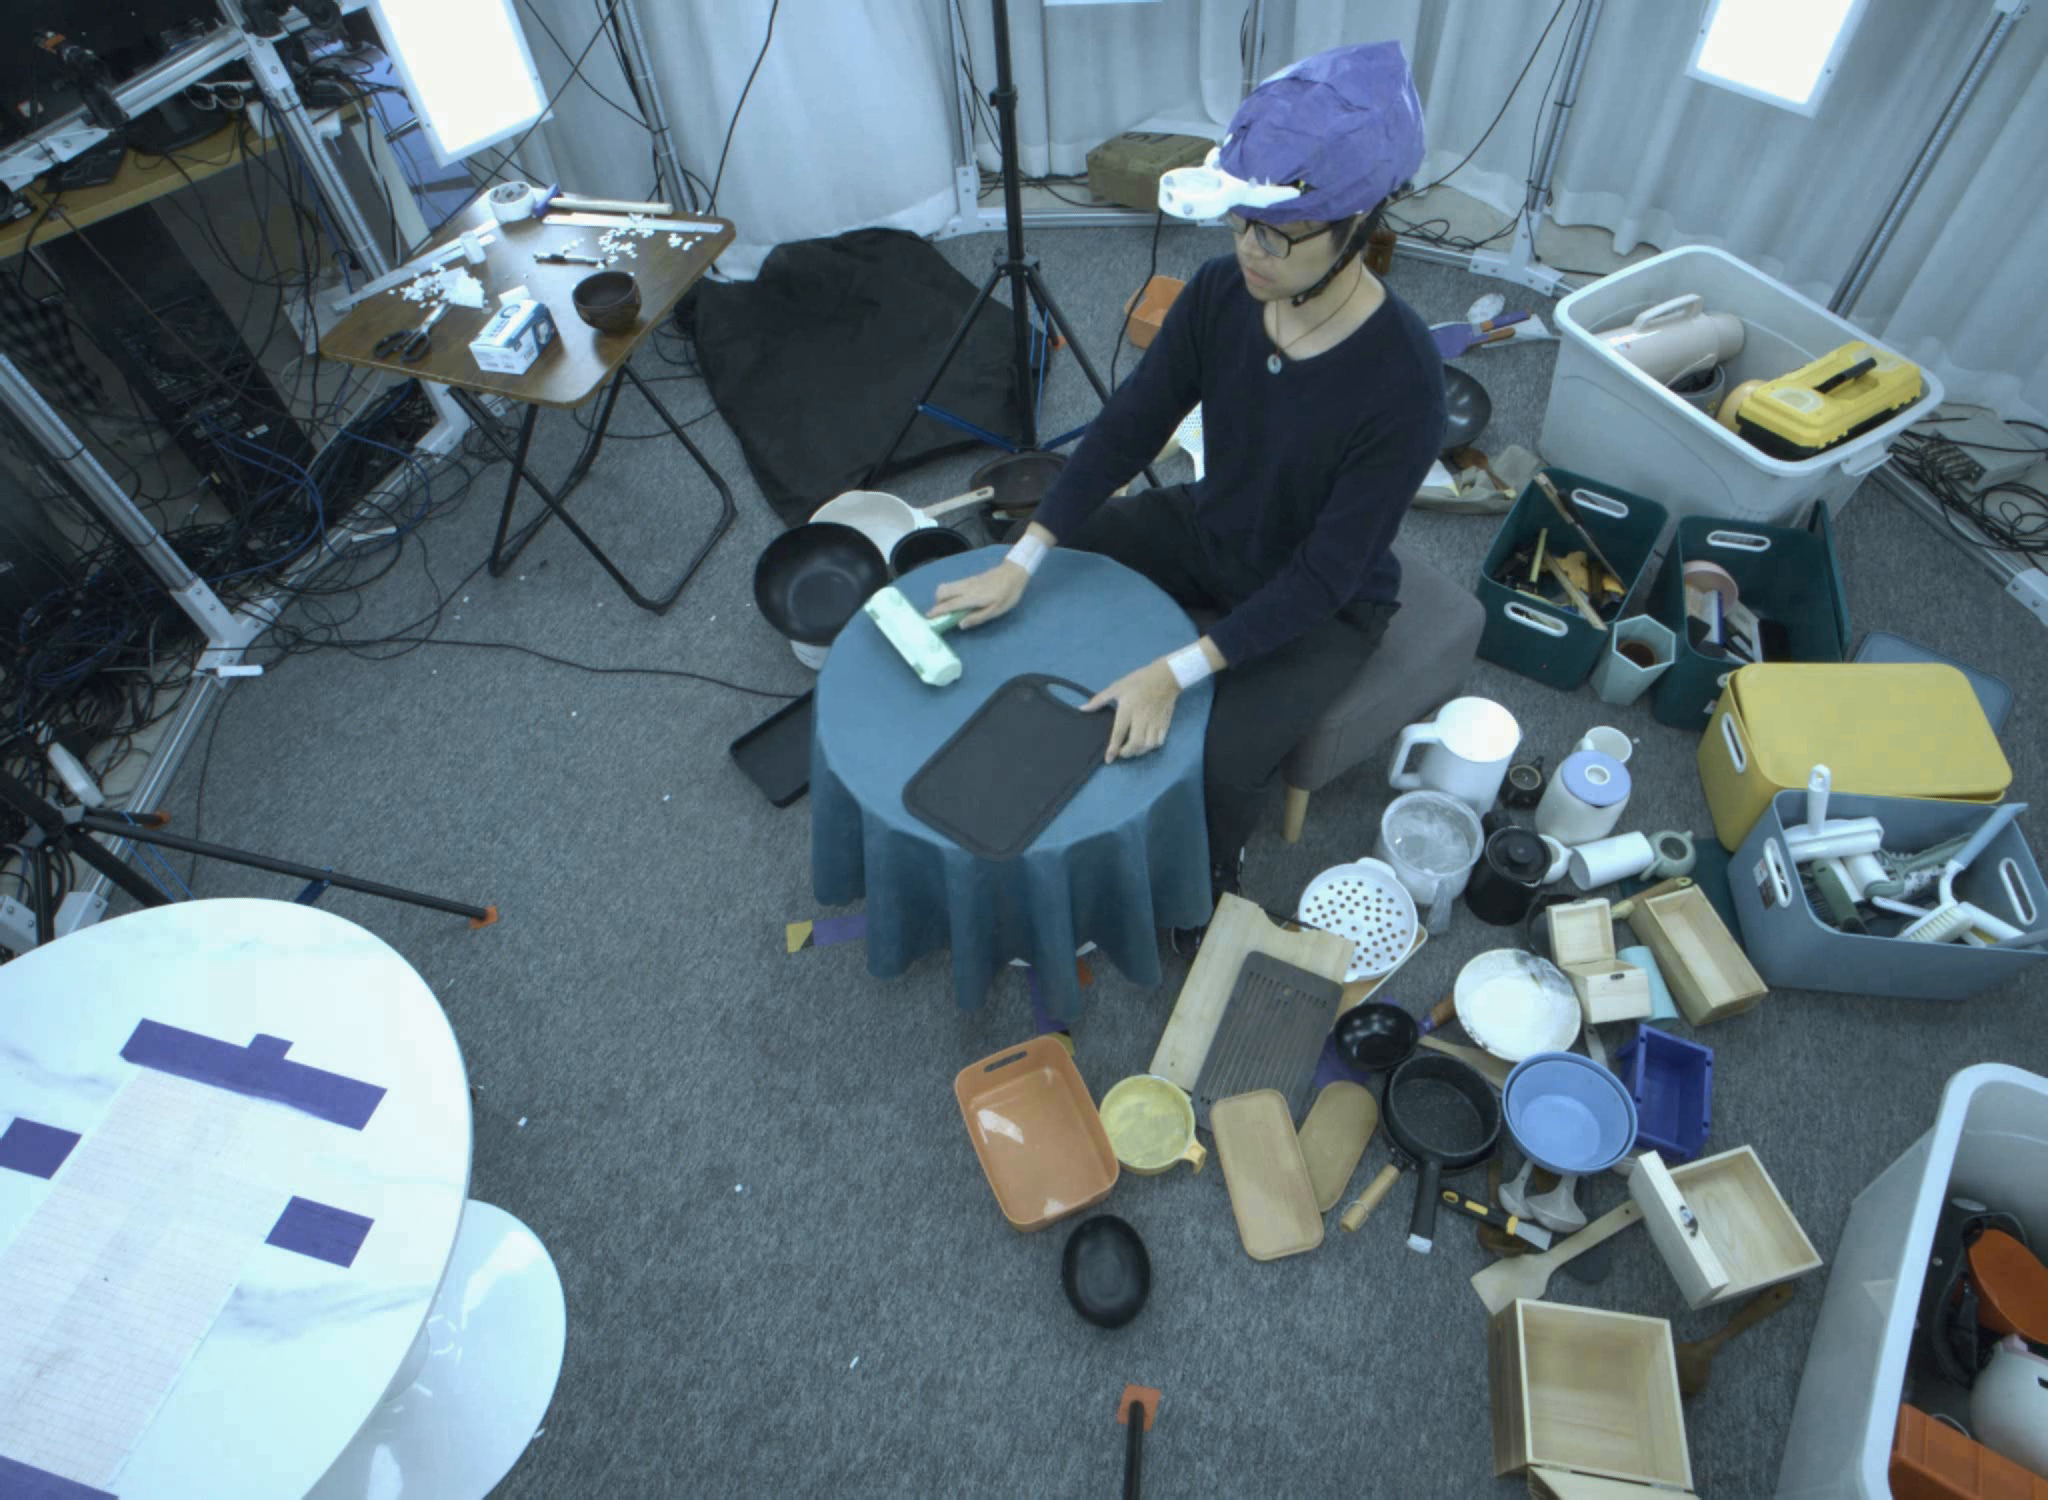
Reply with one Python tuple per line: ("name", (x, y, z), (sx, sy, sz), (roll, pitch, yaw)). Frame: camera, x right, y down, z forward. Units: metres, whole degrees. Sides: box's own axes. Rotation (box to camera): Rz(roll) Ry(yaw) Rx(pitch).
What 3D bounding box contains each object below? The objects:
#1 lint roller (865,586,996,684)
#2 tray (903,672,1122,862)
("lint roller", (-0.125, -0.214, 1.886), (0.184, 0.083, 0.195), (-36, 61, -9))
("tray", (-0.010, 0.011, 1.773), (0.207, 0.010, 0.327), (31, 62, 23))
